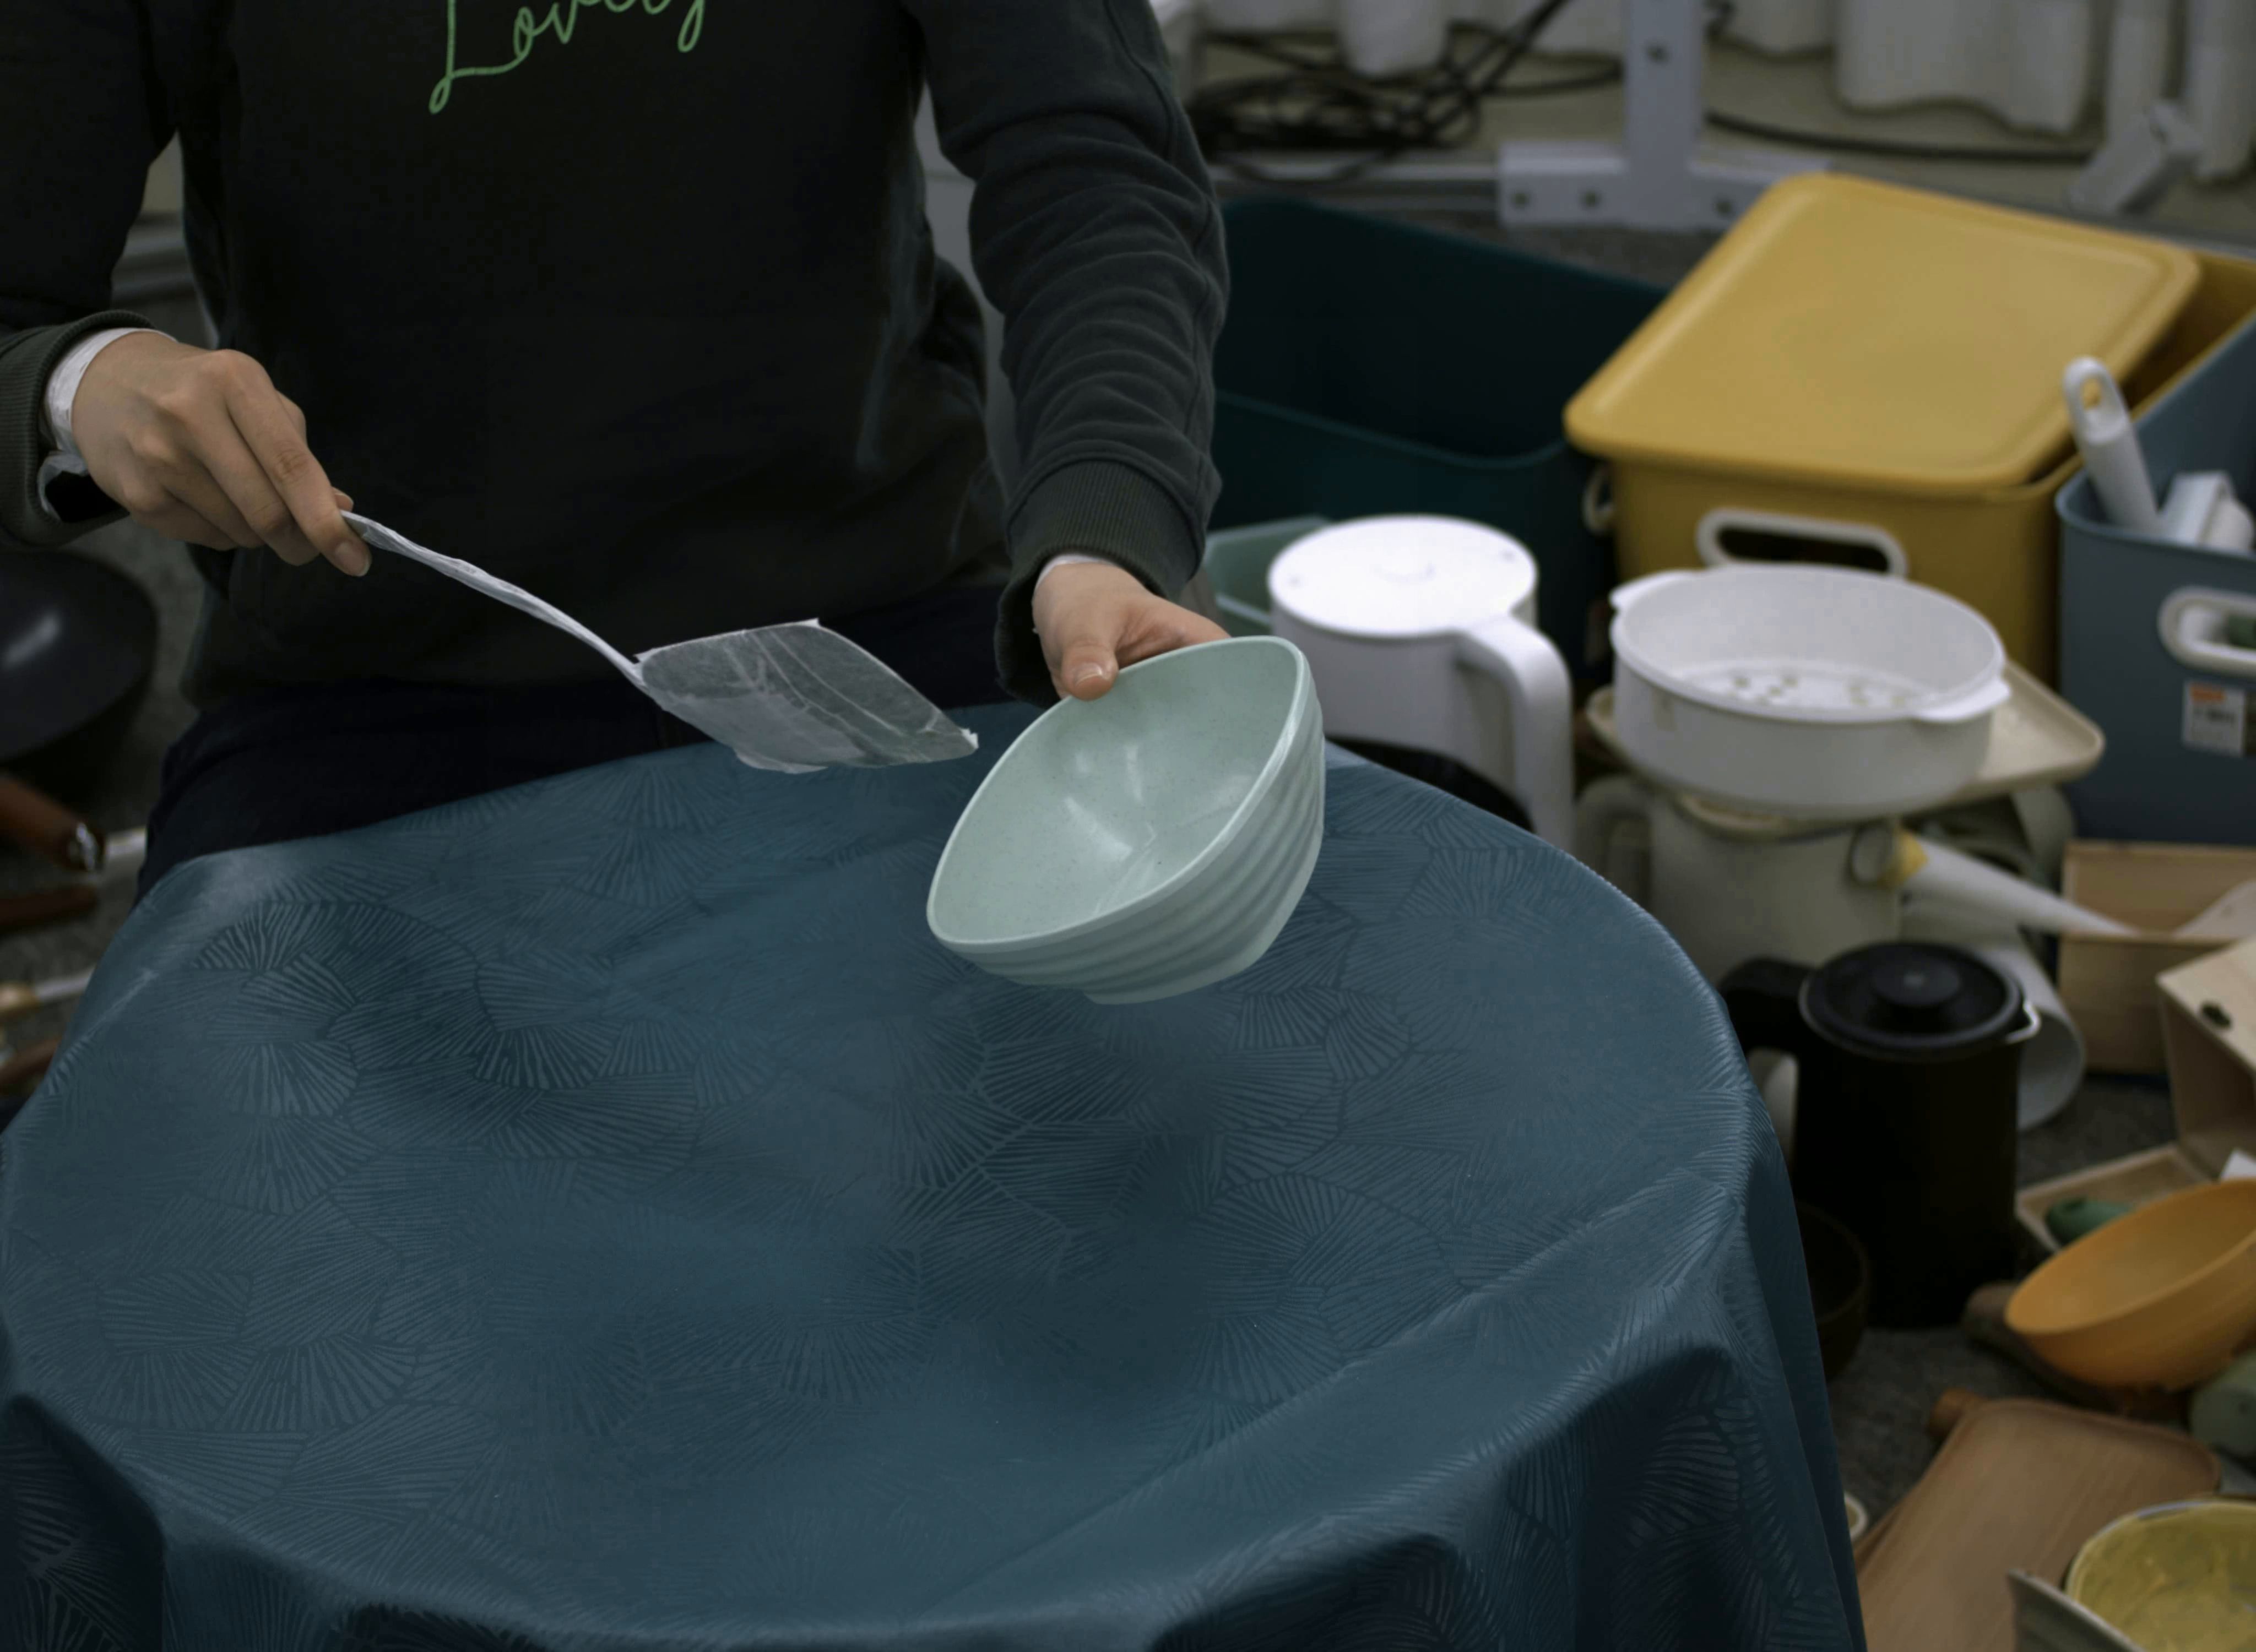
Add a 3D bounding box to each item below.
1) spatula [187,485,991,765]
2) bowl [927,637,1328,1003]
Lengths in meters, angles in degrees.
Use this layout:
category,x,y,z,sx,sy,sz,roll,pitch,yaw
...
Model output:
category,x,y,z,sx,sy,sz,roll,pitch,yaw
spatula,-0.197,-0.078,1.863,0.364,0.098,0.045,22,79,40
bowl,0.011,0.007,1.840,0.150,0.058,0.154,-25,31,17
